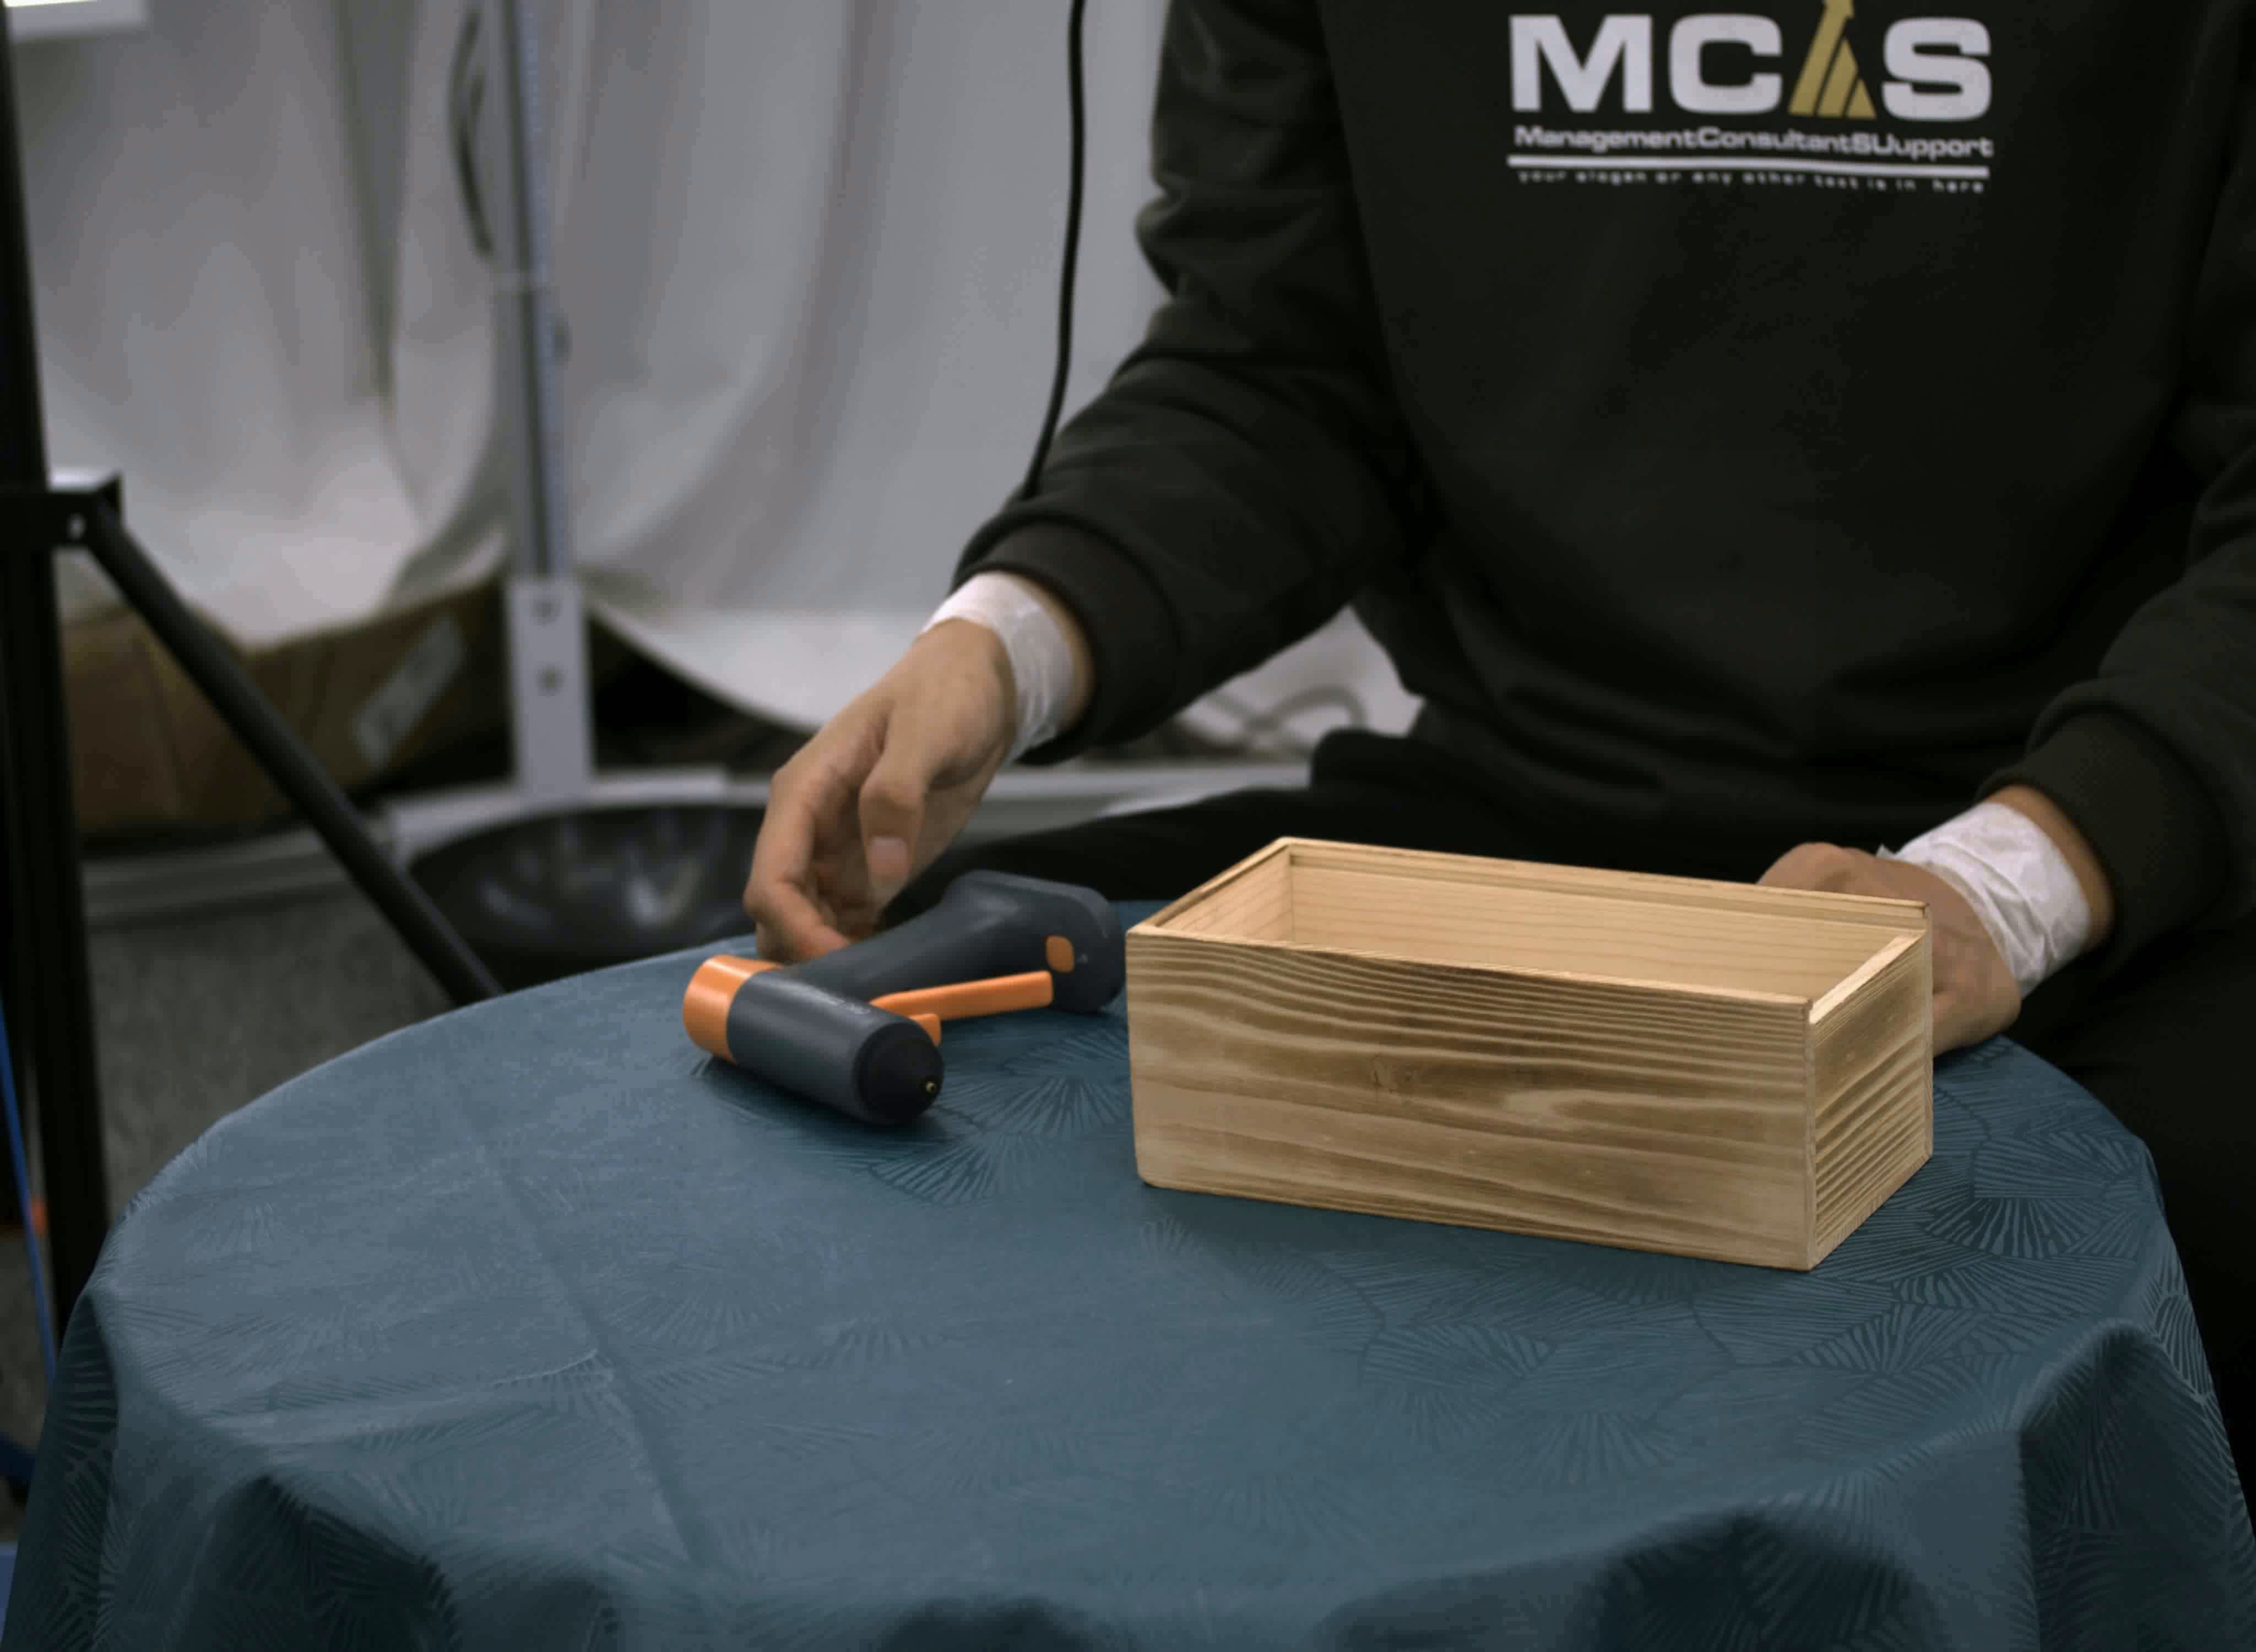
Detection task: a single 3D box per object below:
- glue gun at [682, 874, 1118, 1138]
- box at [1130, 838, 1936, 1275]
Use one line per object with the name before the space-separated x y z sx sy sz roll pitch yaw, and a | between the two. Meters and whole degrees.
glue gun | -0.068 0.058 1.686 0.120 0.041 0.137 12 23 37
box | 0.118 0.065 1.546 0.215 0.080 0.105 6 17 28
